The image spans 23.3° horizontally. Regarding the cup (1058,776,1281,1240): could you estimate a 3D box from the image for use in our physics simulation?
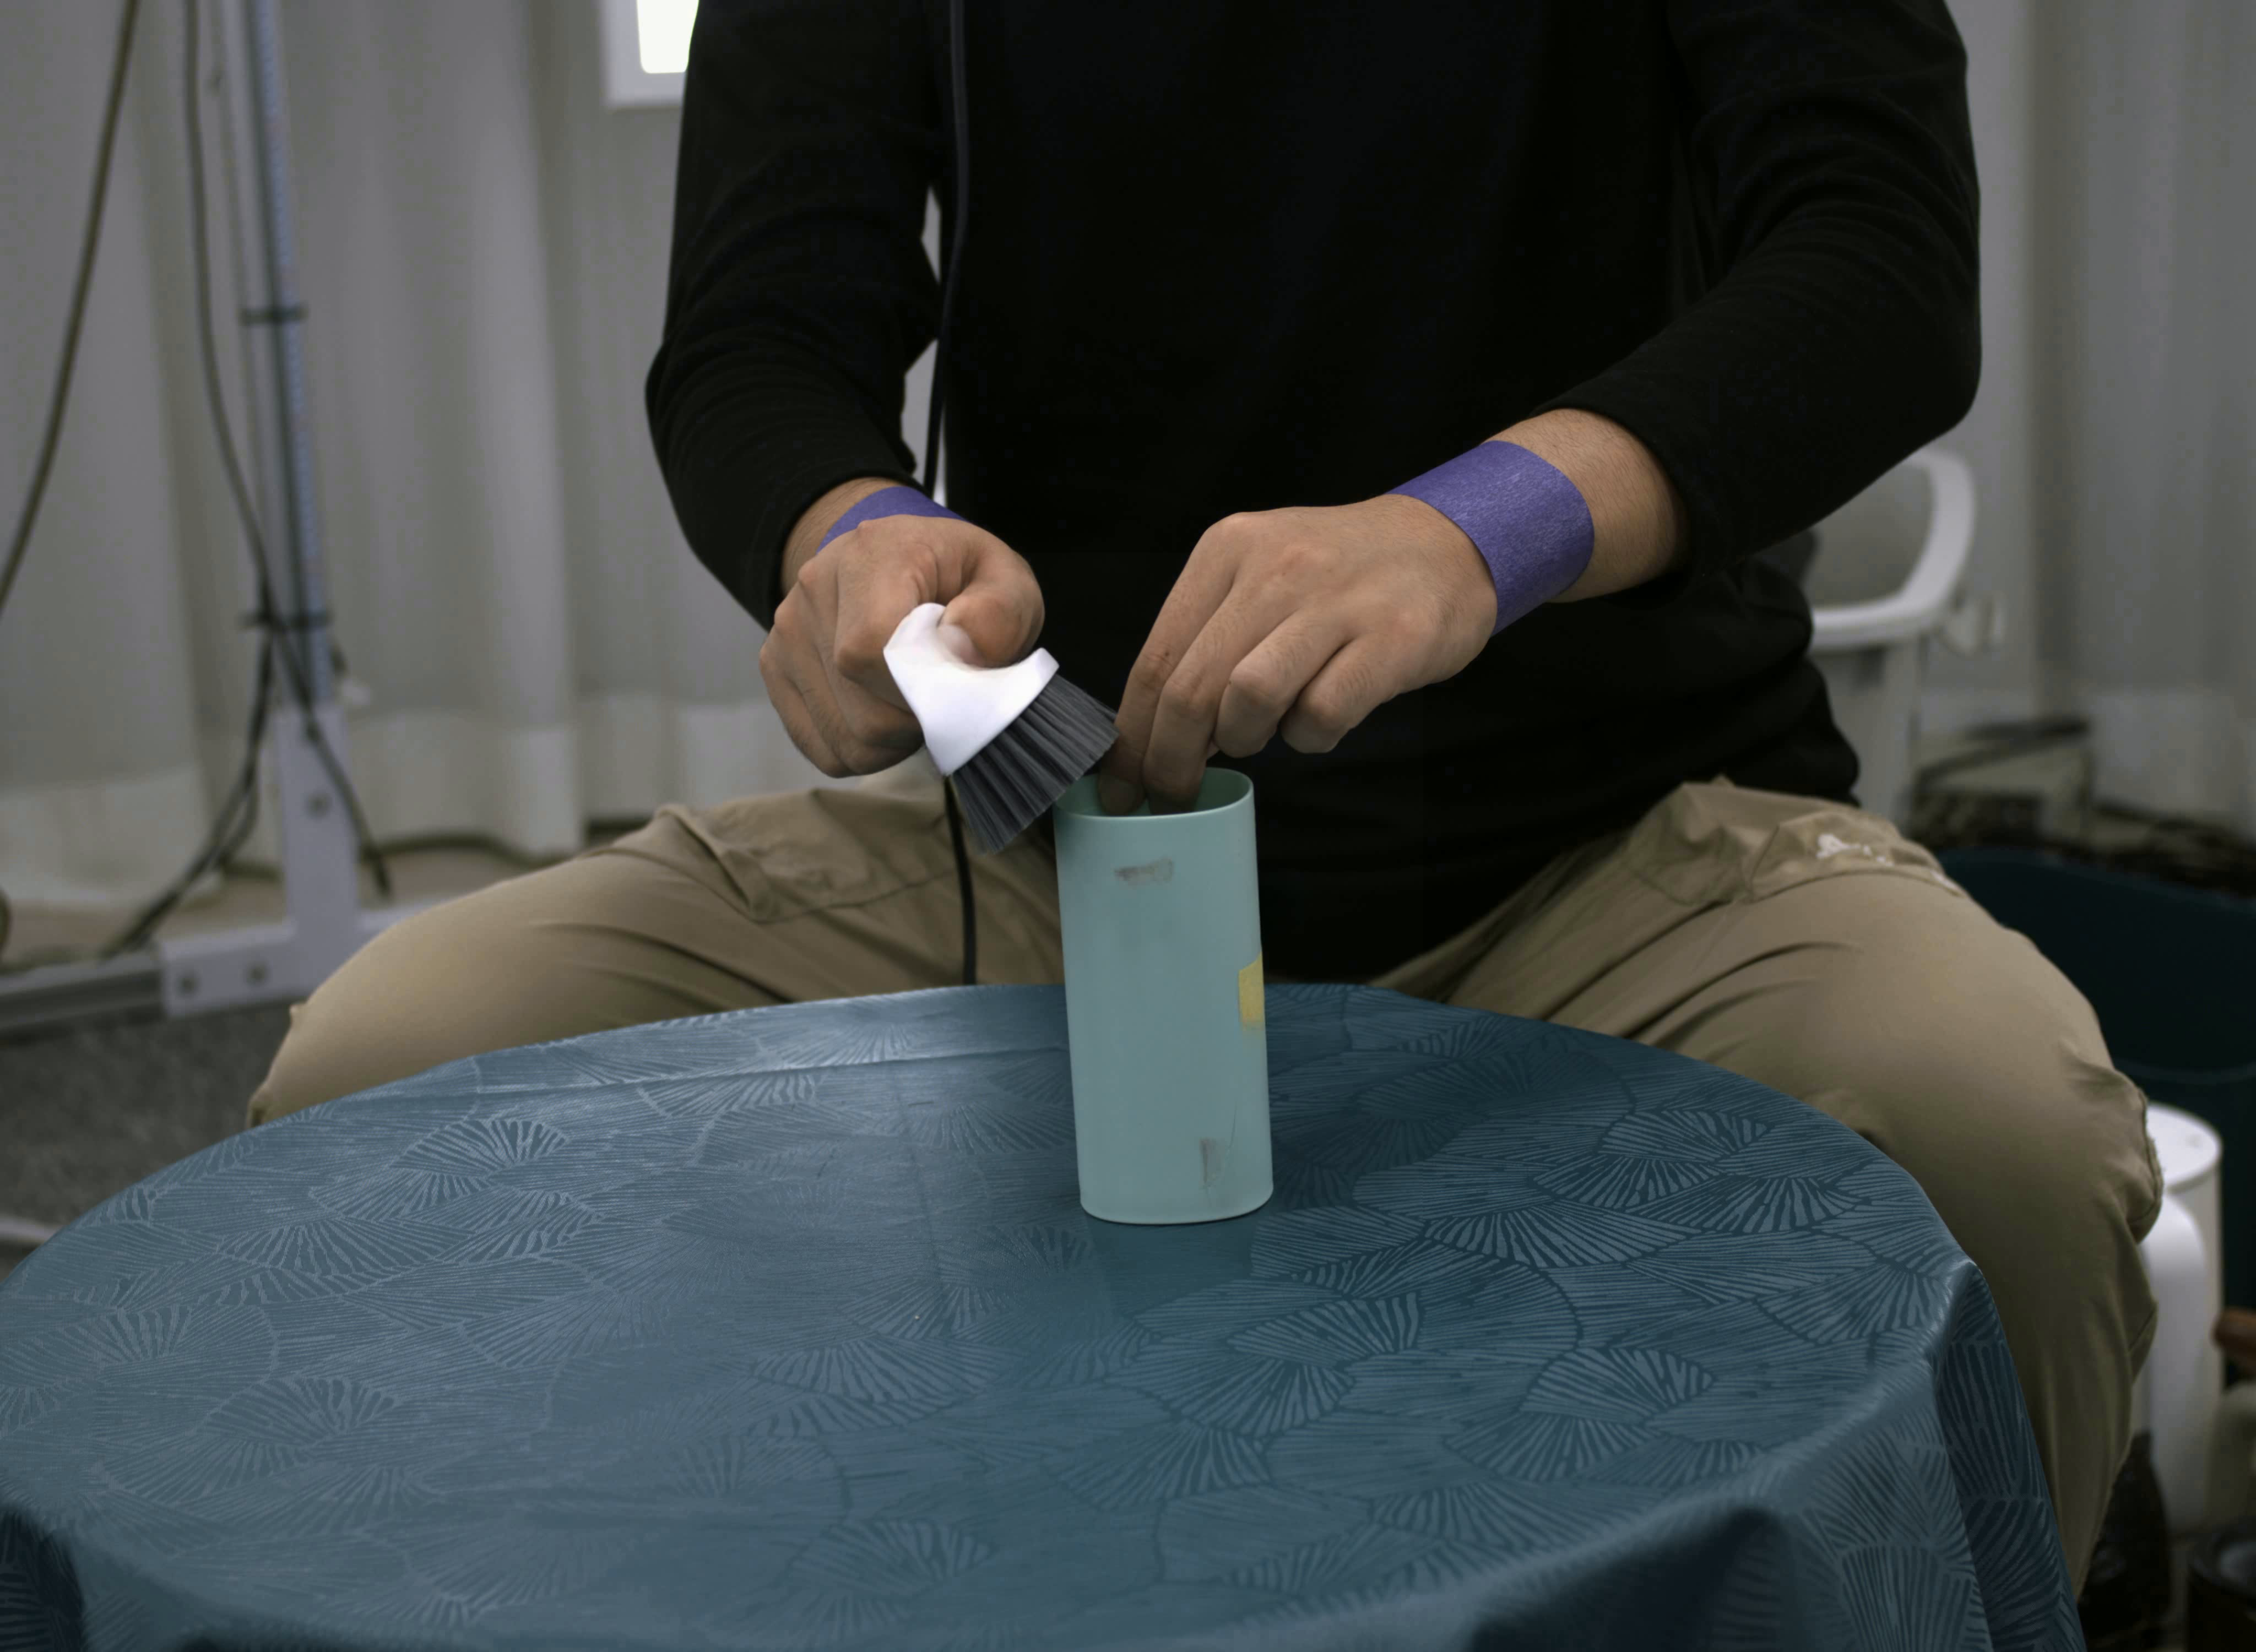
[{"bbox_3d":[0.012,0.056,1.696,0.066,0.132,0.067,-4,14,1],"label":"cup"}]

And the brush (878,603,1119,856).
[{"bbox_3d":[-0.046,-0.037,1.688,0.050,0.072,0.099,-42,3,11],"label":"brush"}]
